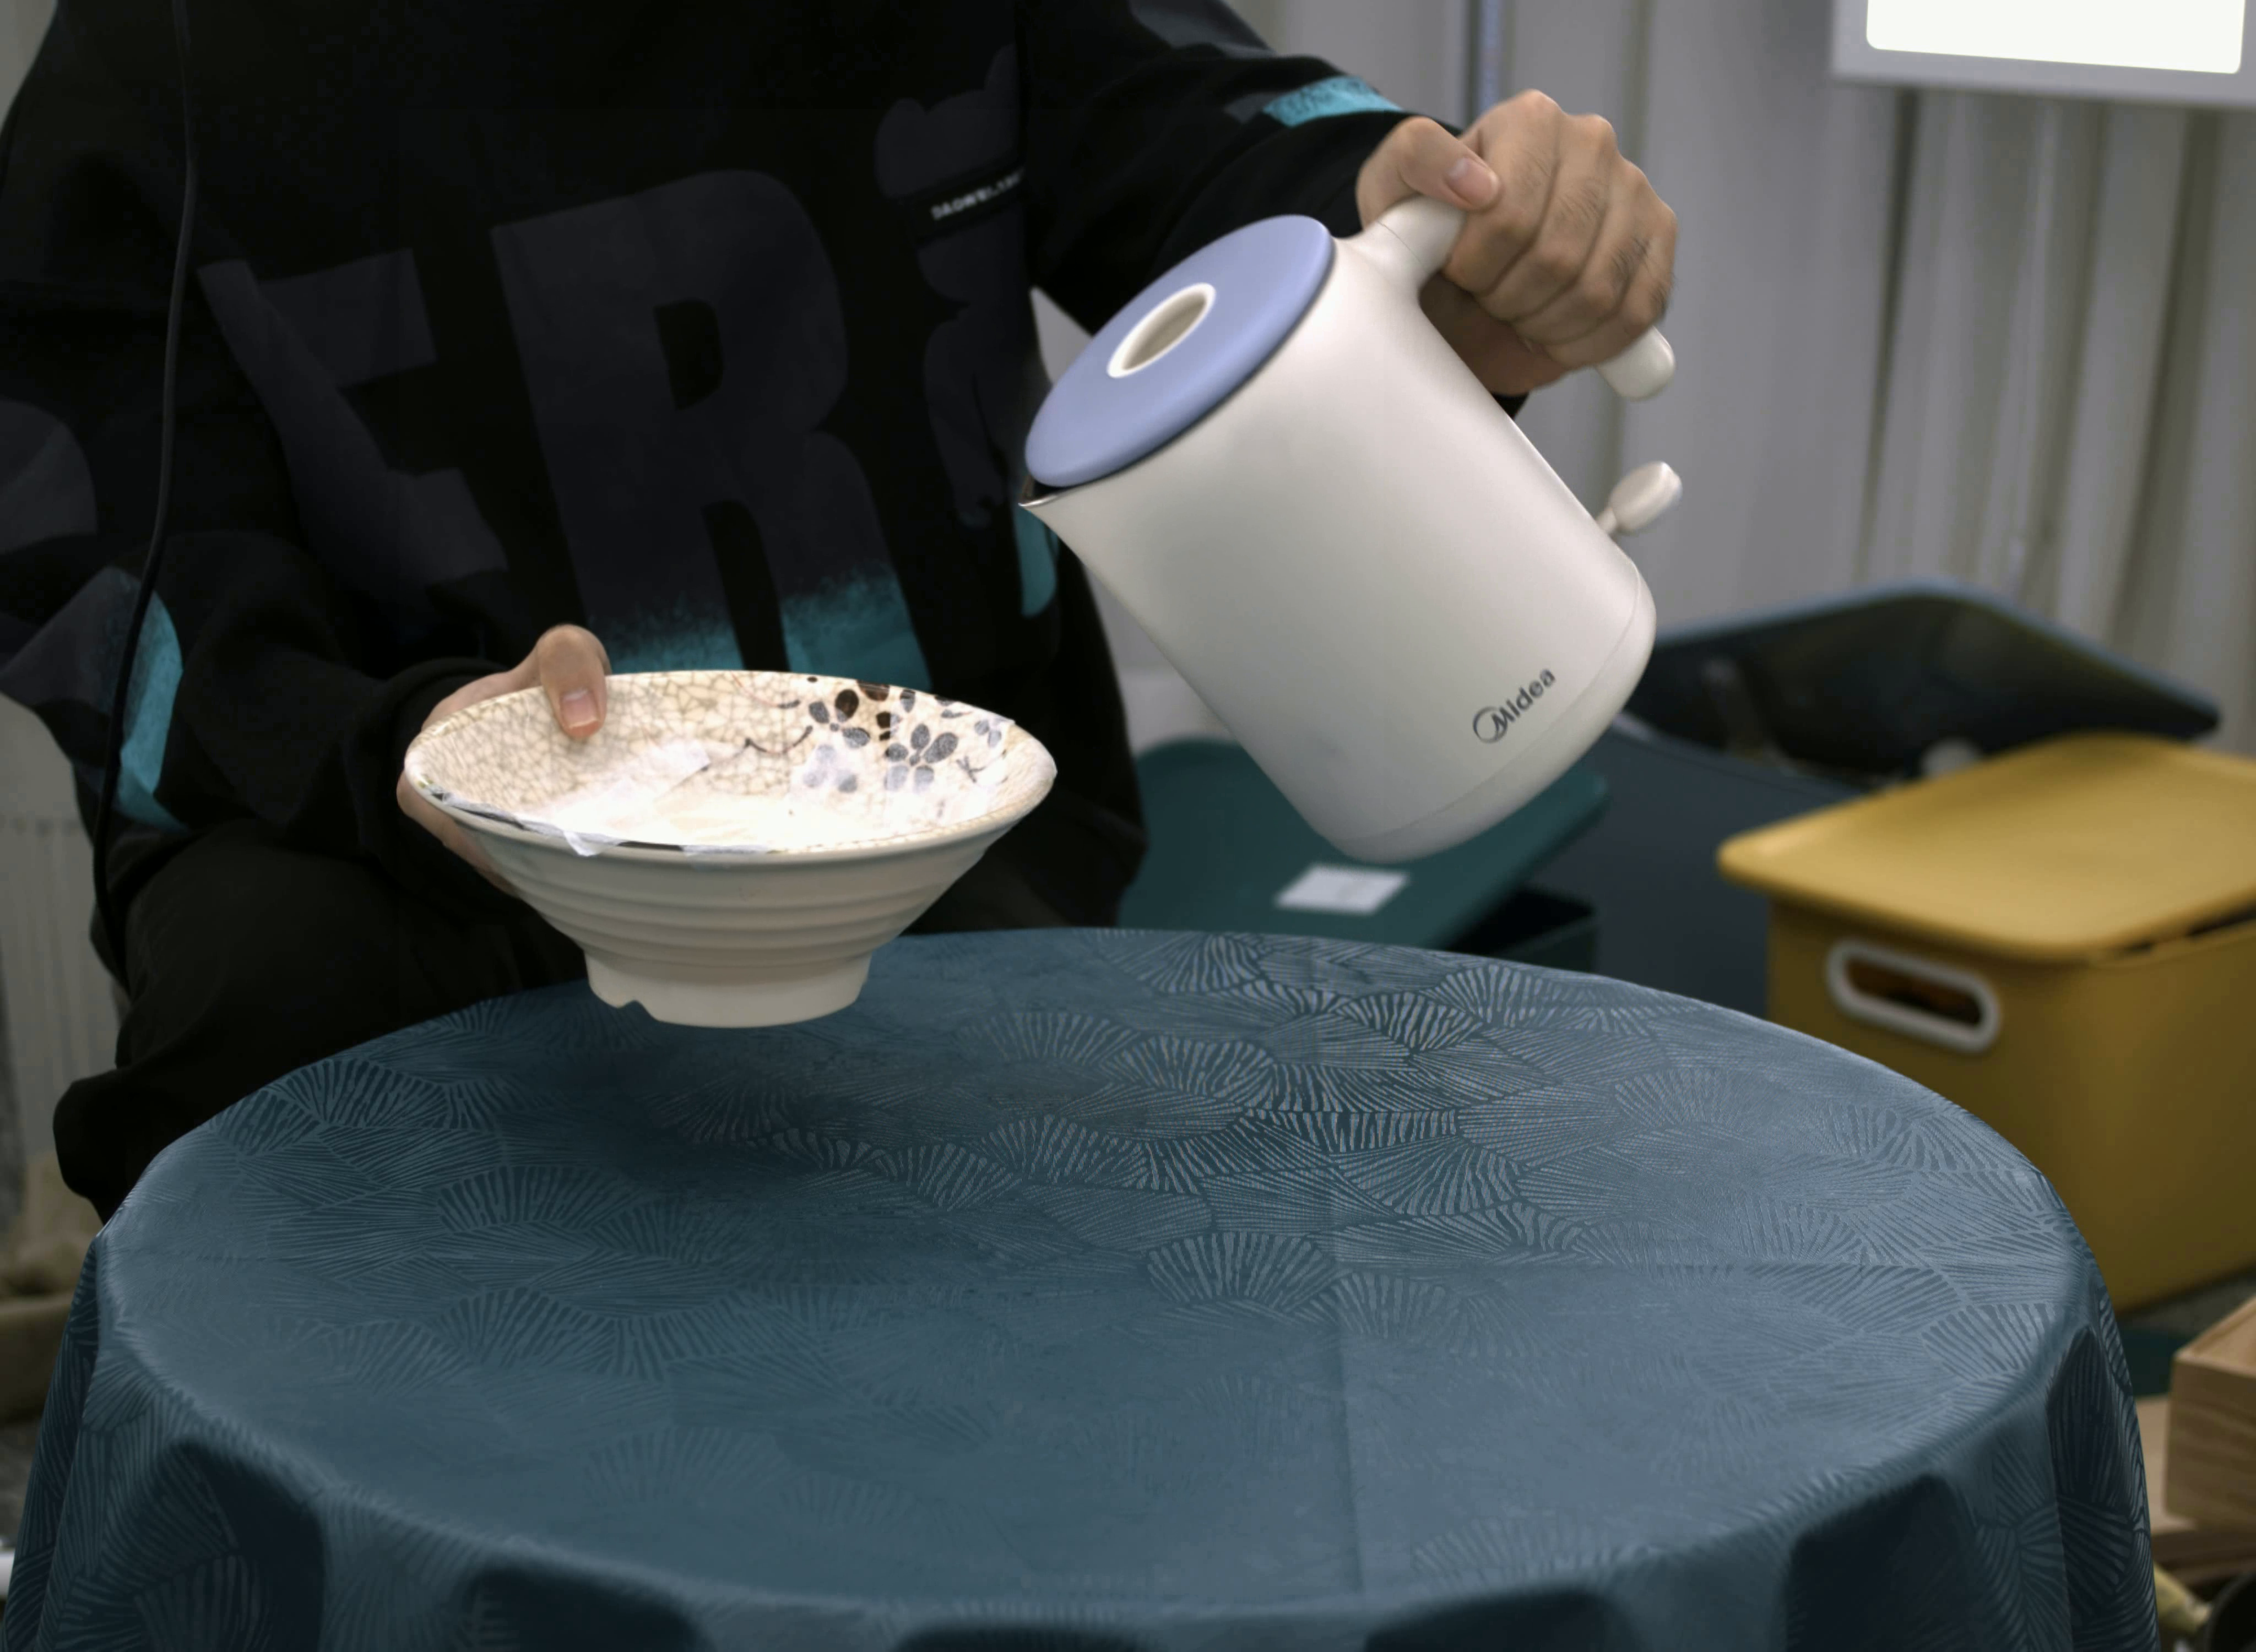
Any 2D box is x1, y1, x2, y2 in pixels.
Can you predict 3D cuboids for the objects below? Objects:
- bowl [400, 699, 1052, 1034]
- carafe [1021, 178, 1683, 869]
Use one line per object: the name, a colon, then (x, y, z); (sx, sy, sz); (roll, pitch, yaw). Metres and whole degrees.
bowl: (-0.126, 0.017, 1.650); (0.203, 0.078, 0.203); (2, 13, 0)
carafe: (0.084, -0.105, 1.645); (0.191, 0.184, 0.131); (-41, 23, -6)
